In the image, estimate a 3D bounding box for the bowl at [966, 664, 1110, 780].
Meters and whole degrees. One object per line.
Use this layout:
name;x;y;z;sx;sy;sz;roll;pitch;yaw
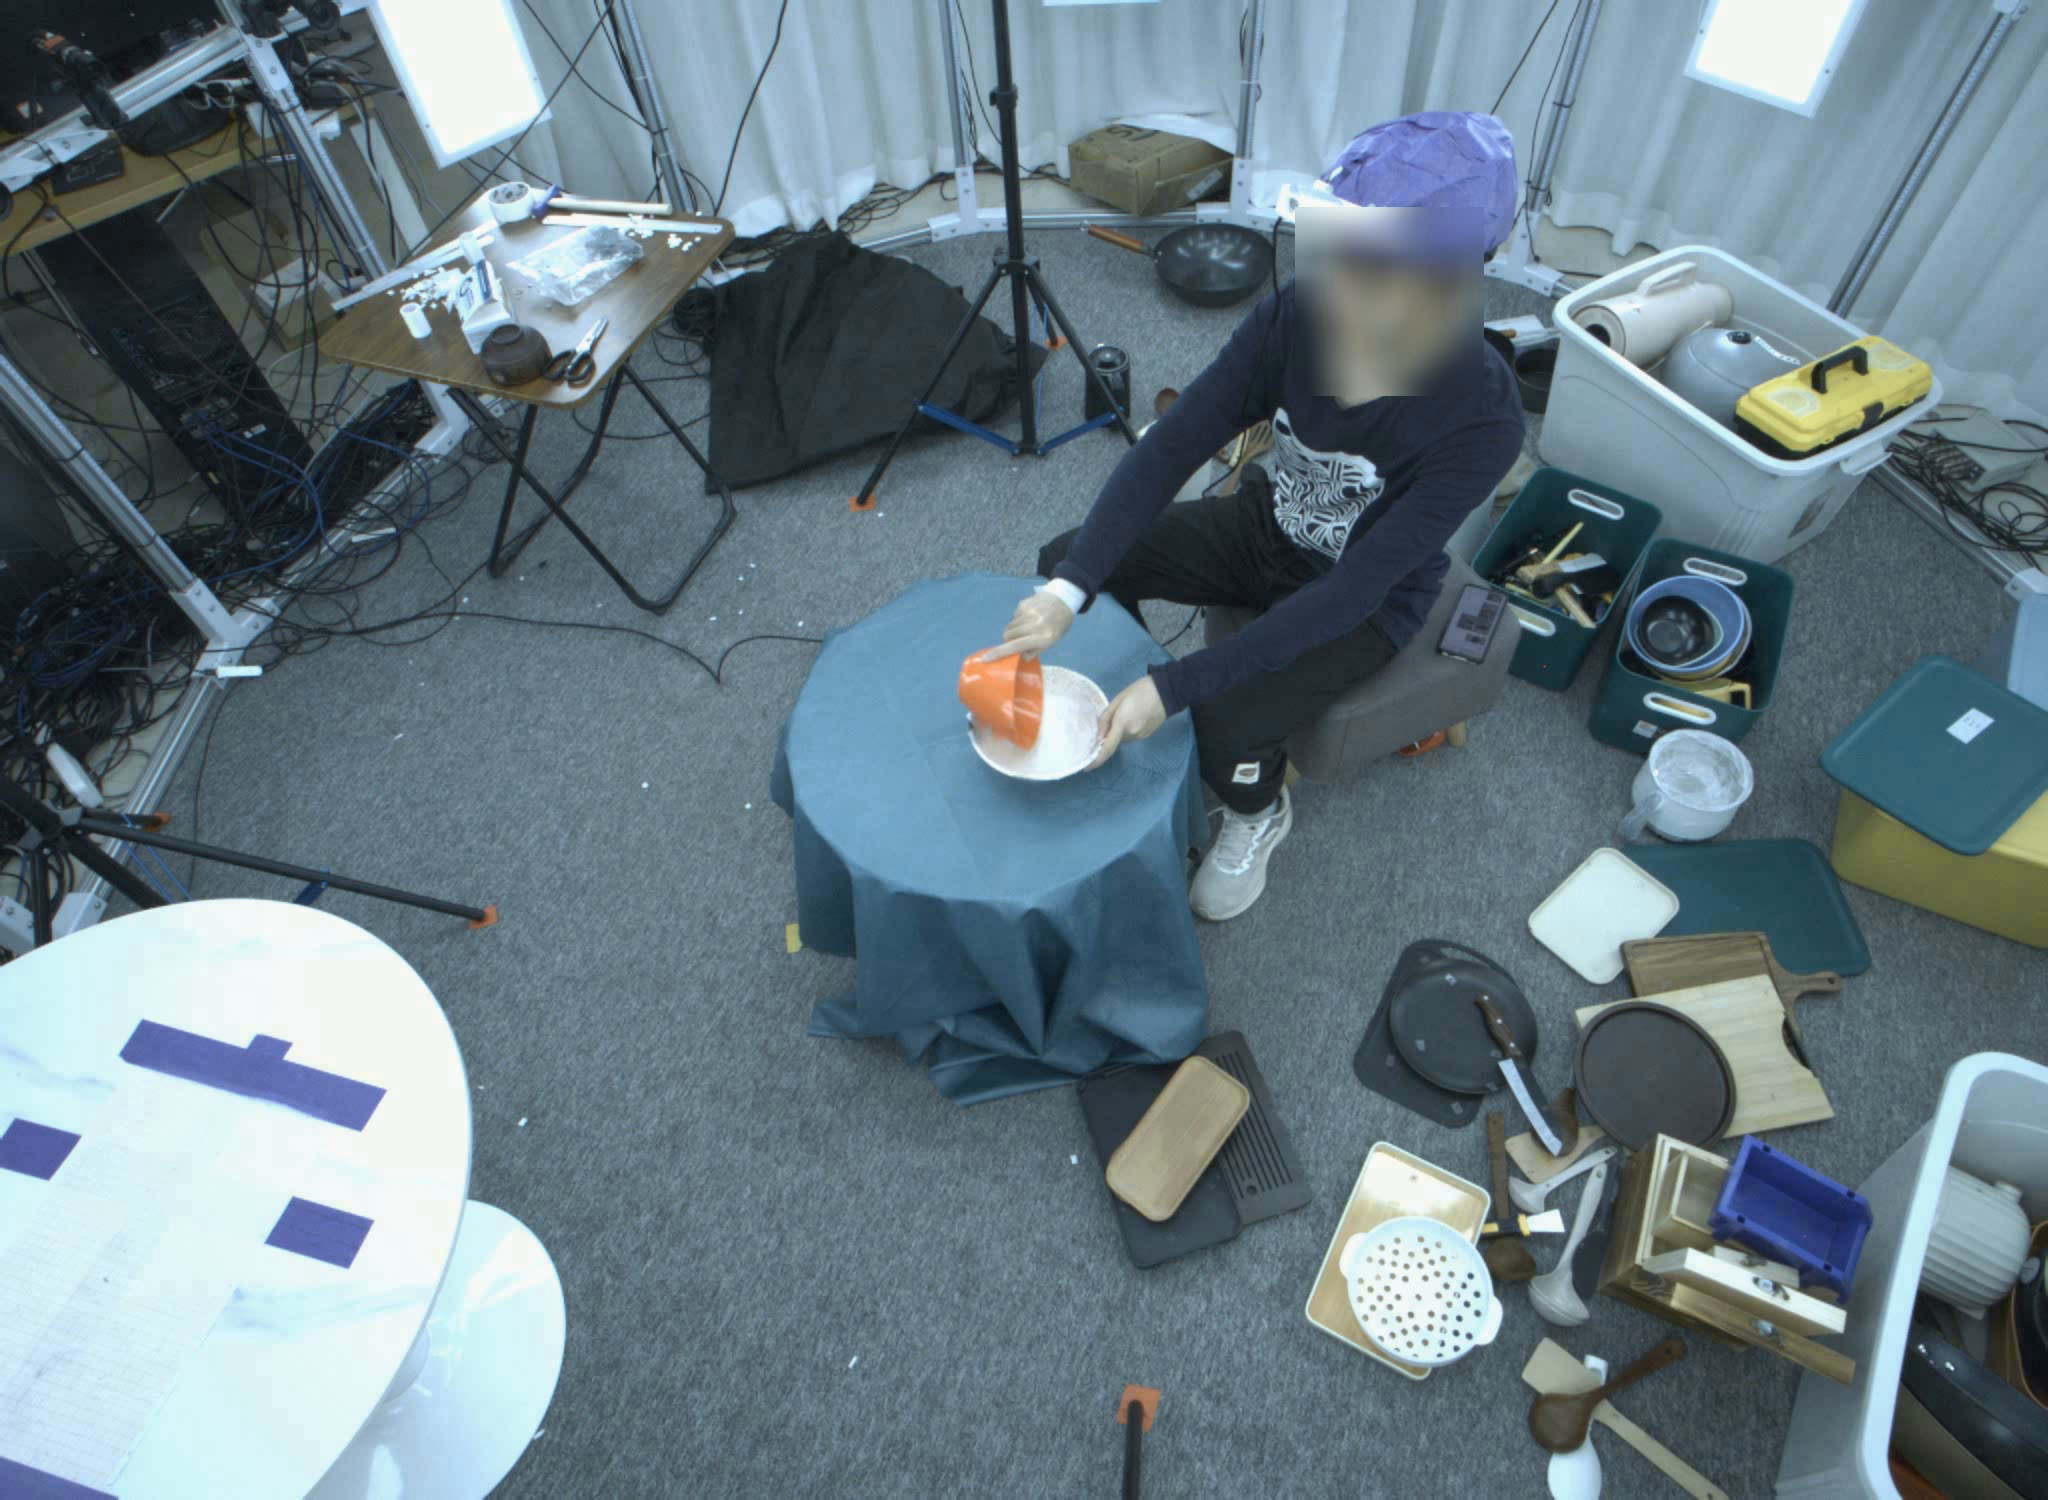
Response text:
bowl;0.021;-0.021;1.762;0.204;0.078;0.202;1;55;0

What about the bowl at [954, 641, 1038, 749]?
bowl;-0.039;-0.083;1.707;0.104;0.149;0.147;11;56;10
